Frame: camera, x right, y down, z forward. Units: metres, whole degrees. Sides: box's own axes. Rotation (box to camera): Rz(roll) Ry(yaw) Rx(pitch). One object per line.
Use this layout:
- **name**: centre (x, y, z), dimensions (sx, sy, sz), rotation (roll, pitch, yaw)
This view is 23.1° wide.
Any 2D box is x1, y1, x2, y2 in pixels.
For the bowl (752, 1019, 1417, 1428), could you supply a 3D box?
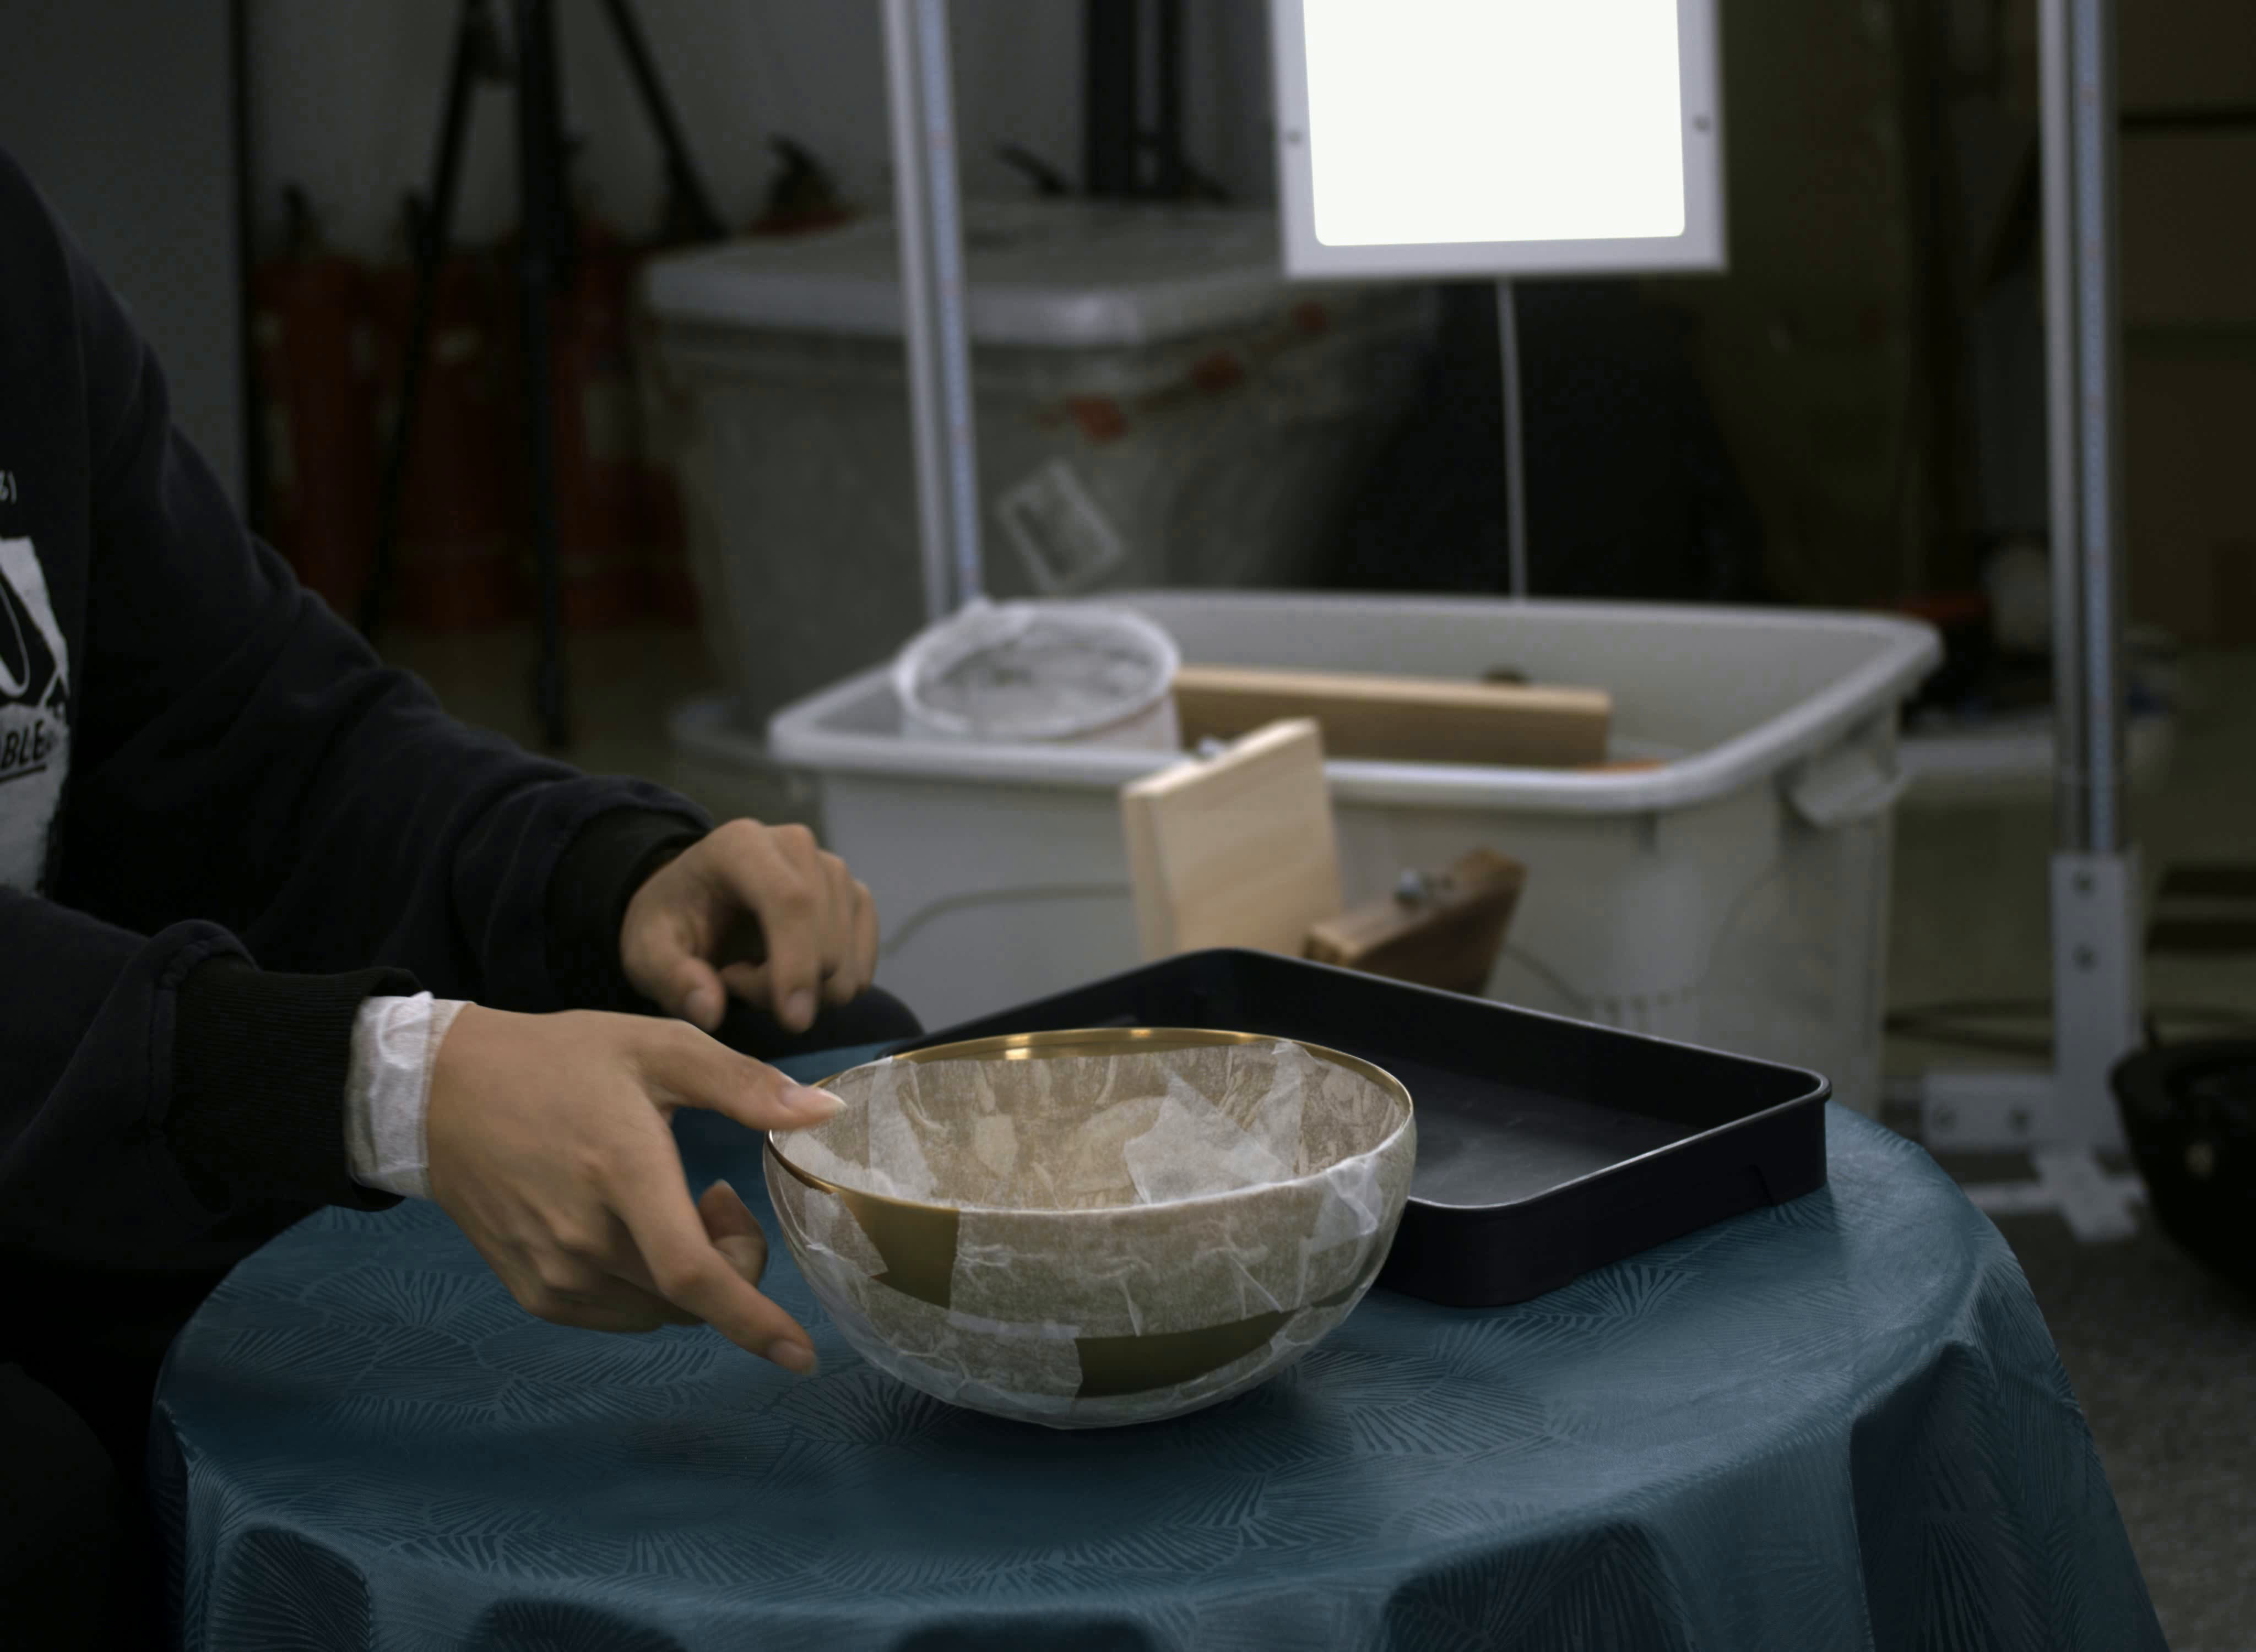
- **bowl**: centre (-0.010, 0.129, 1.694), dimensions (0.214, 0.095, 0.214), rotation (-4, 13, 0)

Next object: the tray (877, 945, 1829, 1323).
- **tray**: centre (0.074, 0.102, 1.905), dimensions (0.179, 0.037, 0.324), rotation (-15, 18, -37)
